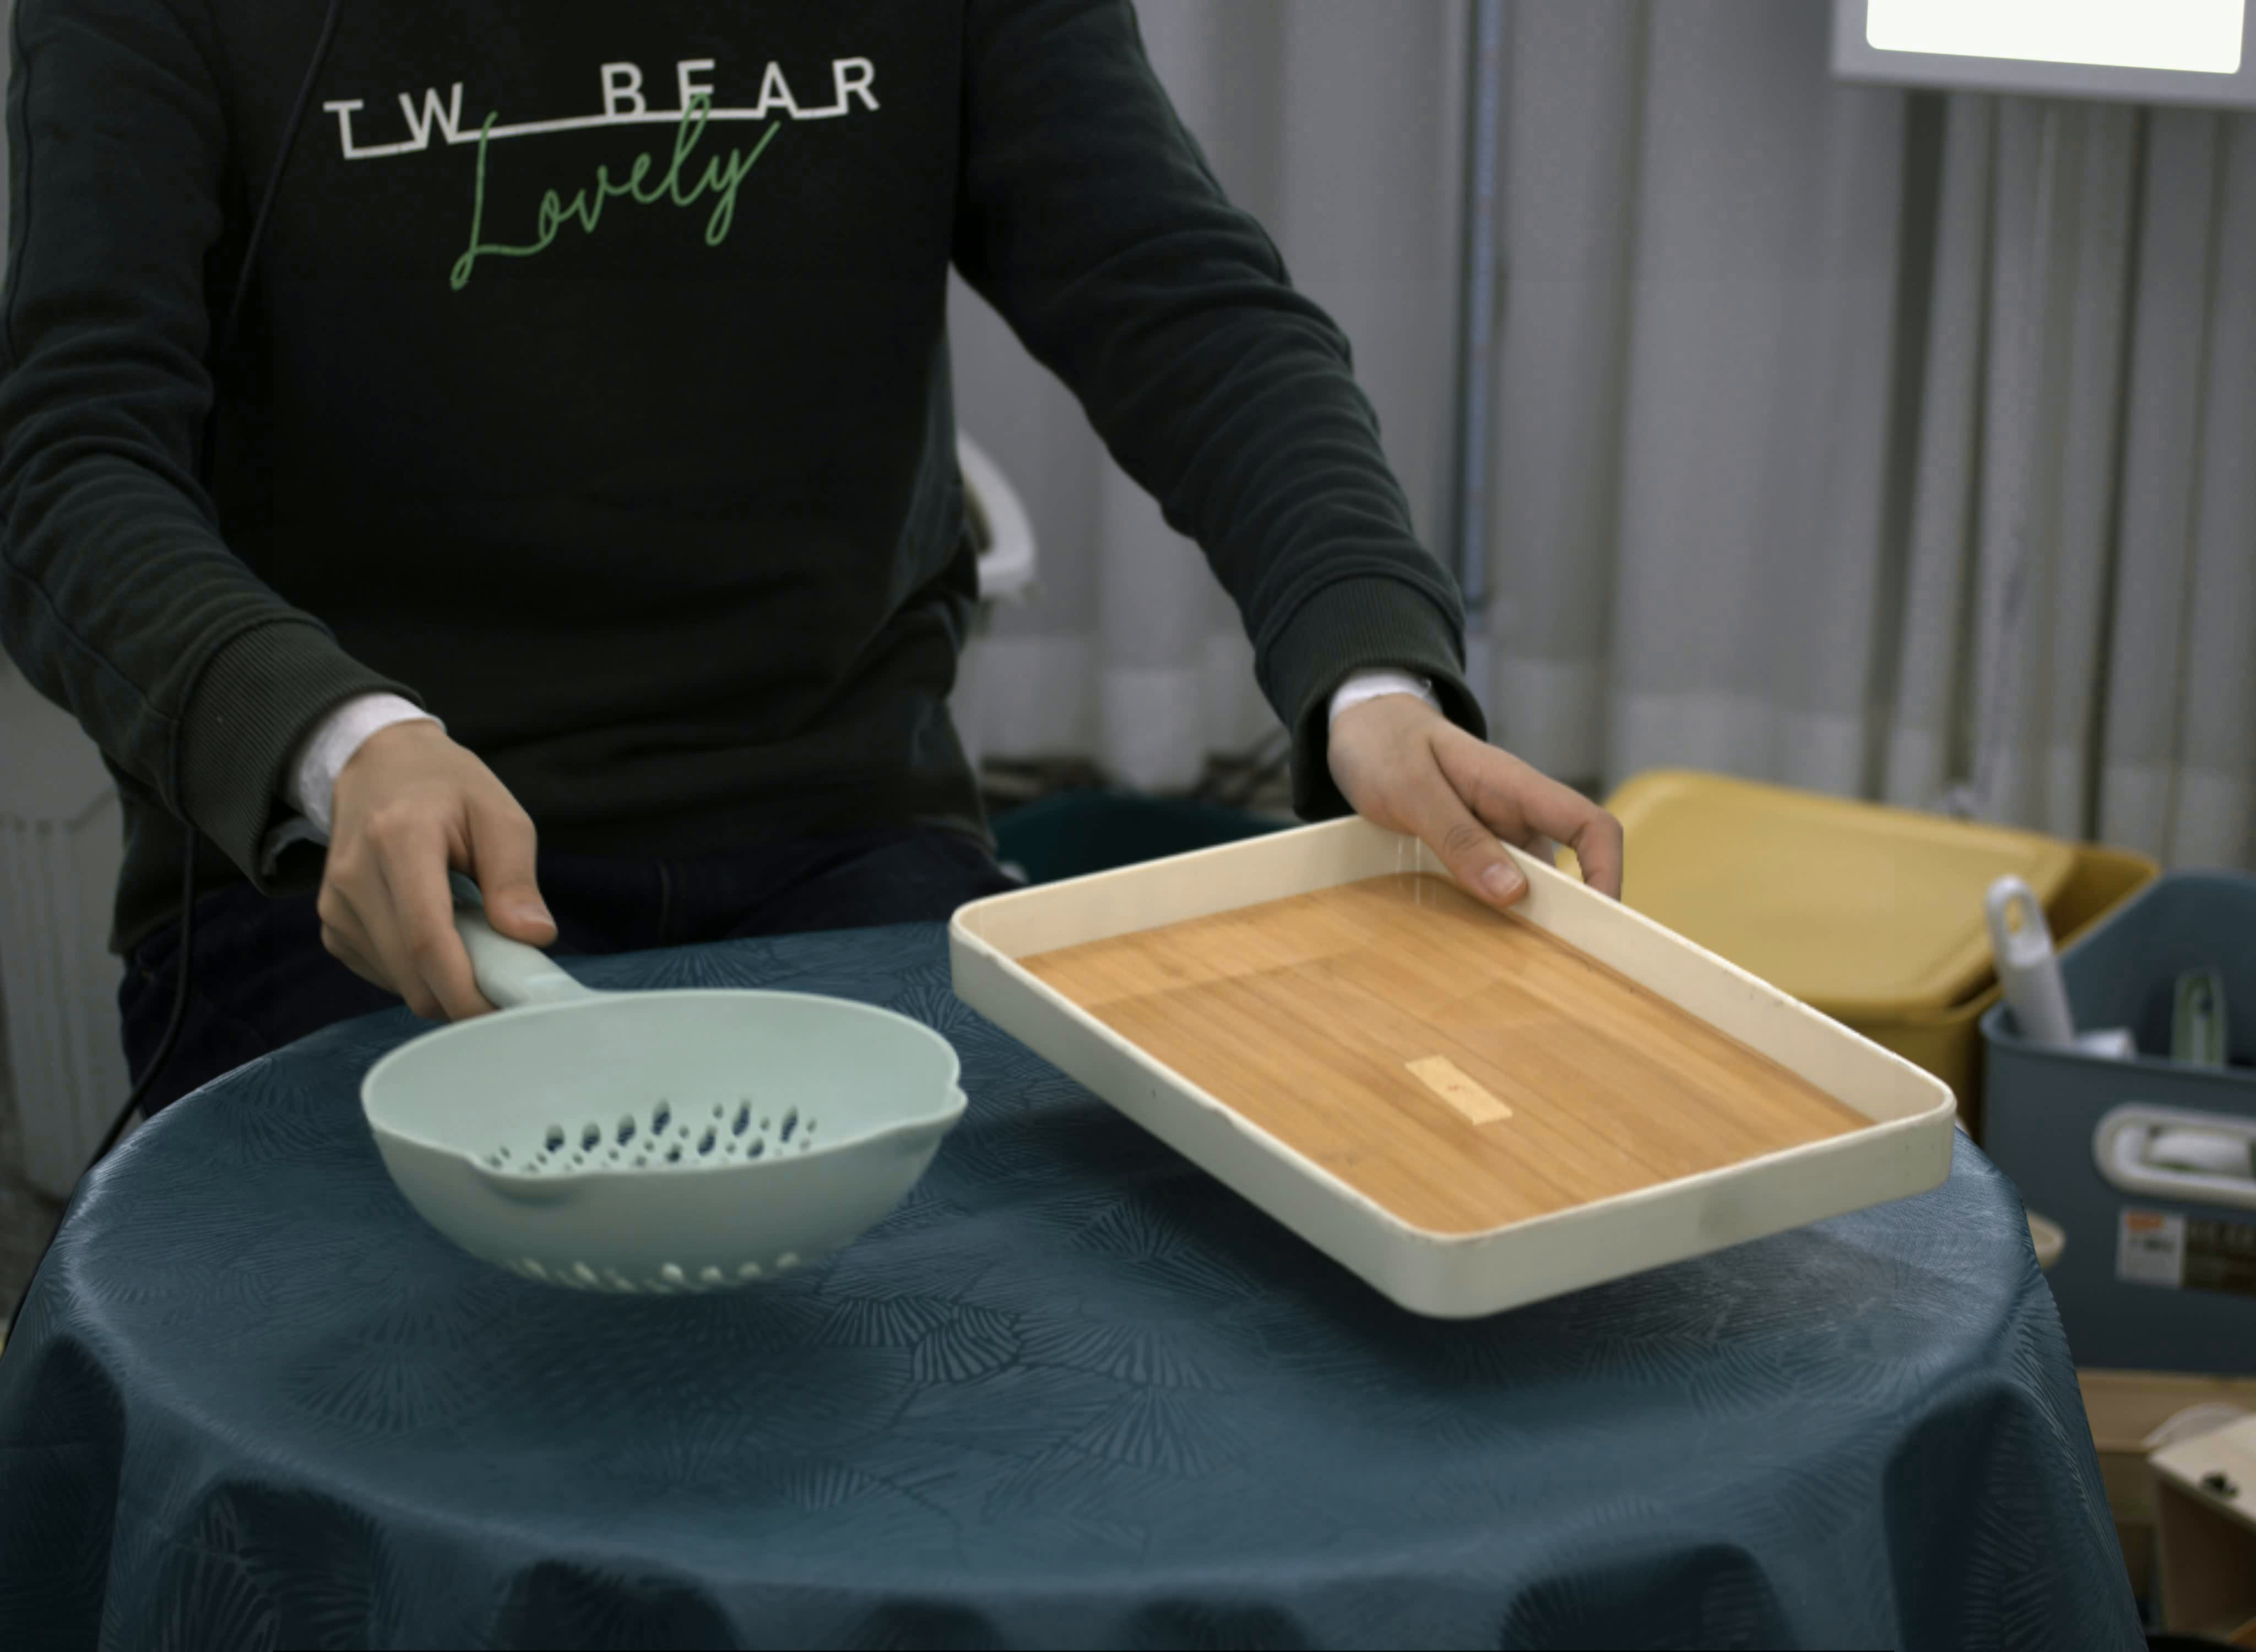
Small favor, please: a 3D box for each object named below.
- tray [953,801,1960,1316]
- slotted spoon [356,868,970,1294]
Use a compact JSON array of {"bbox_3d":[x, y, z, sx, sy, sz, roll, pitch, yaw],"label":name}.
[{"bbox_3d":[0.093,0.065,1.607,0.192,0.027,0.296,-12,24,-28],"label":"tray"},{"bbox_3d":[-0.169,0.059,1.569,0.170,0.076,0.354,-6,24,-23],"label":"slotted spoon"}]
